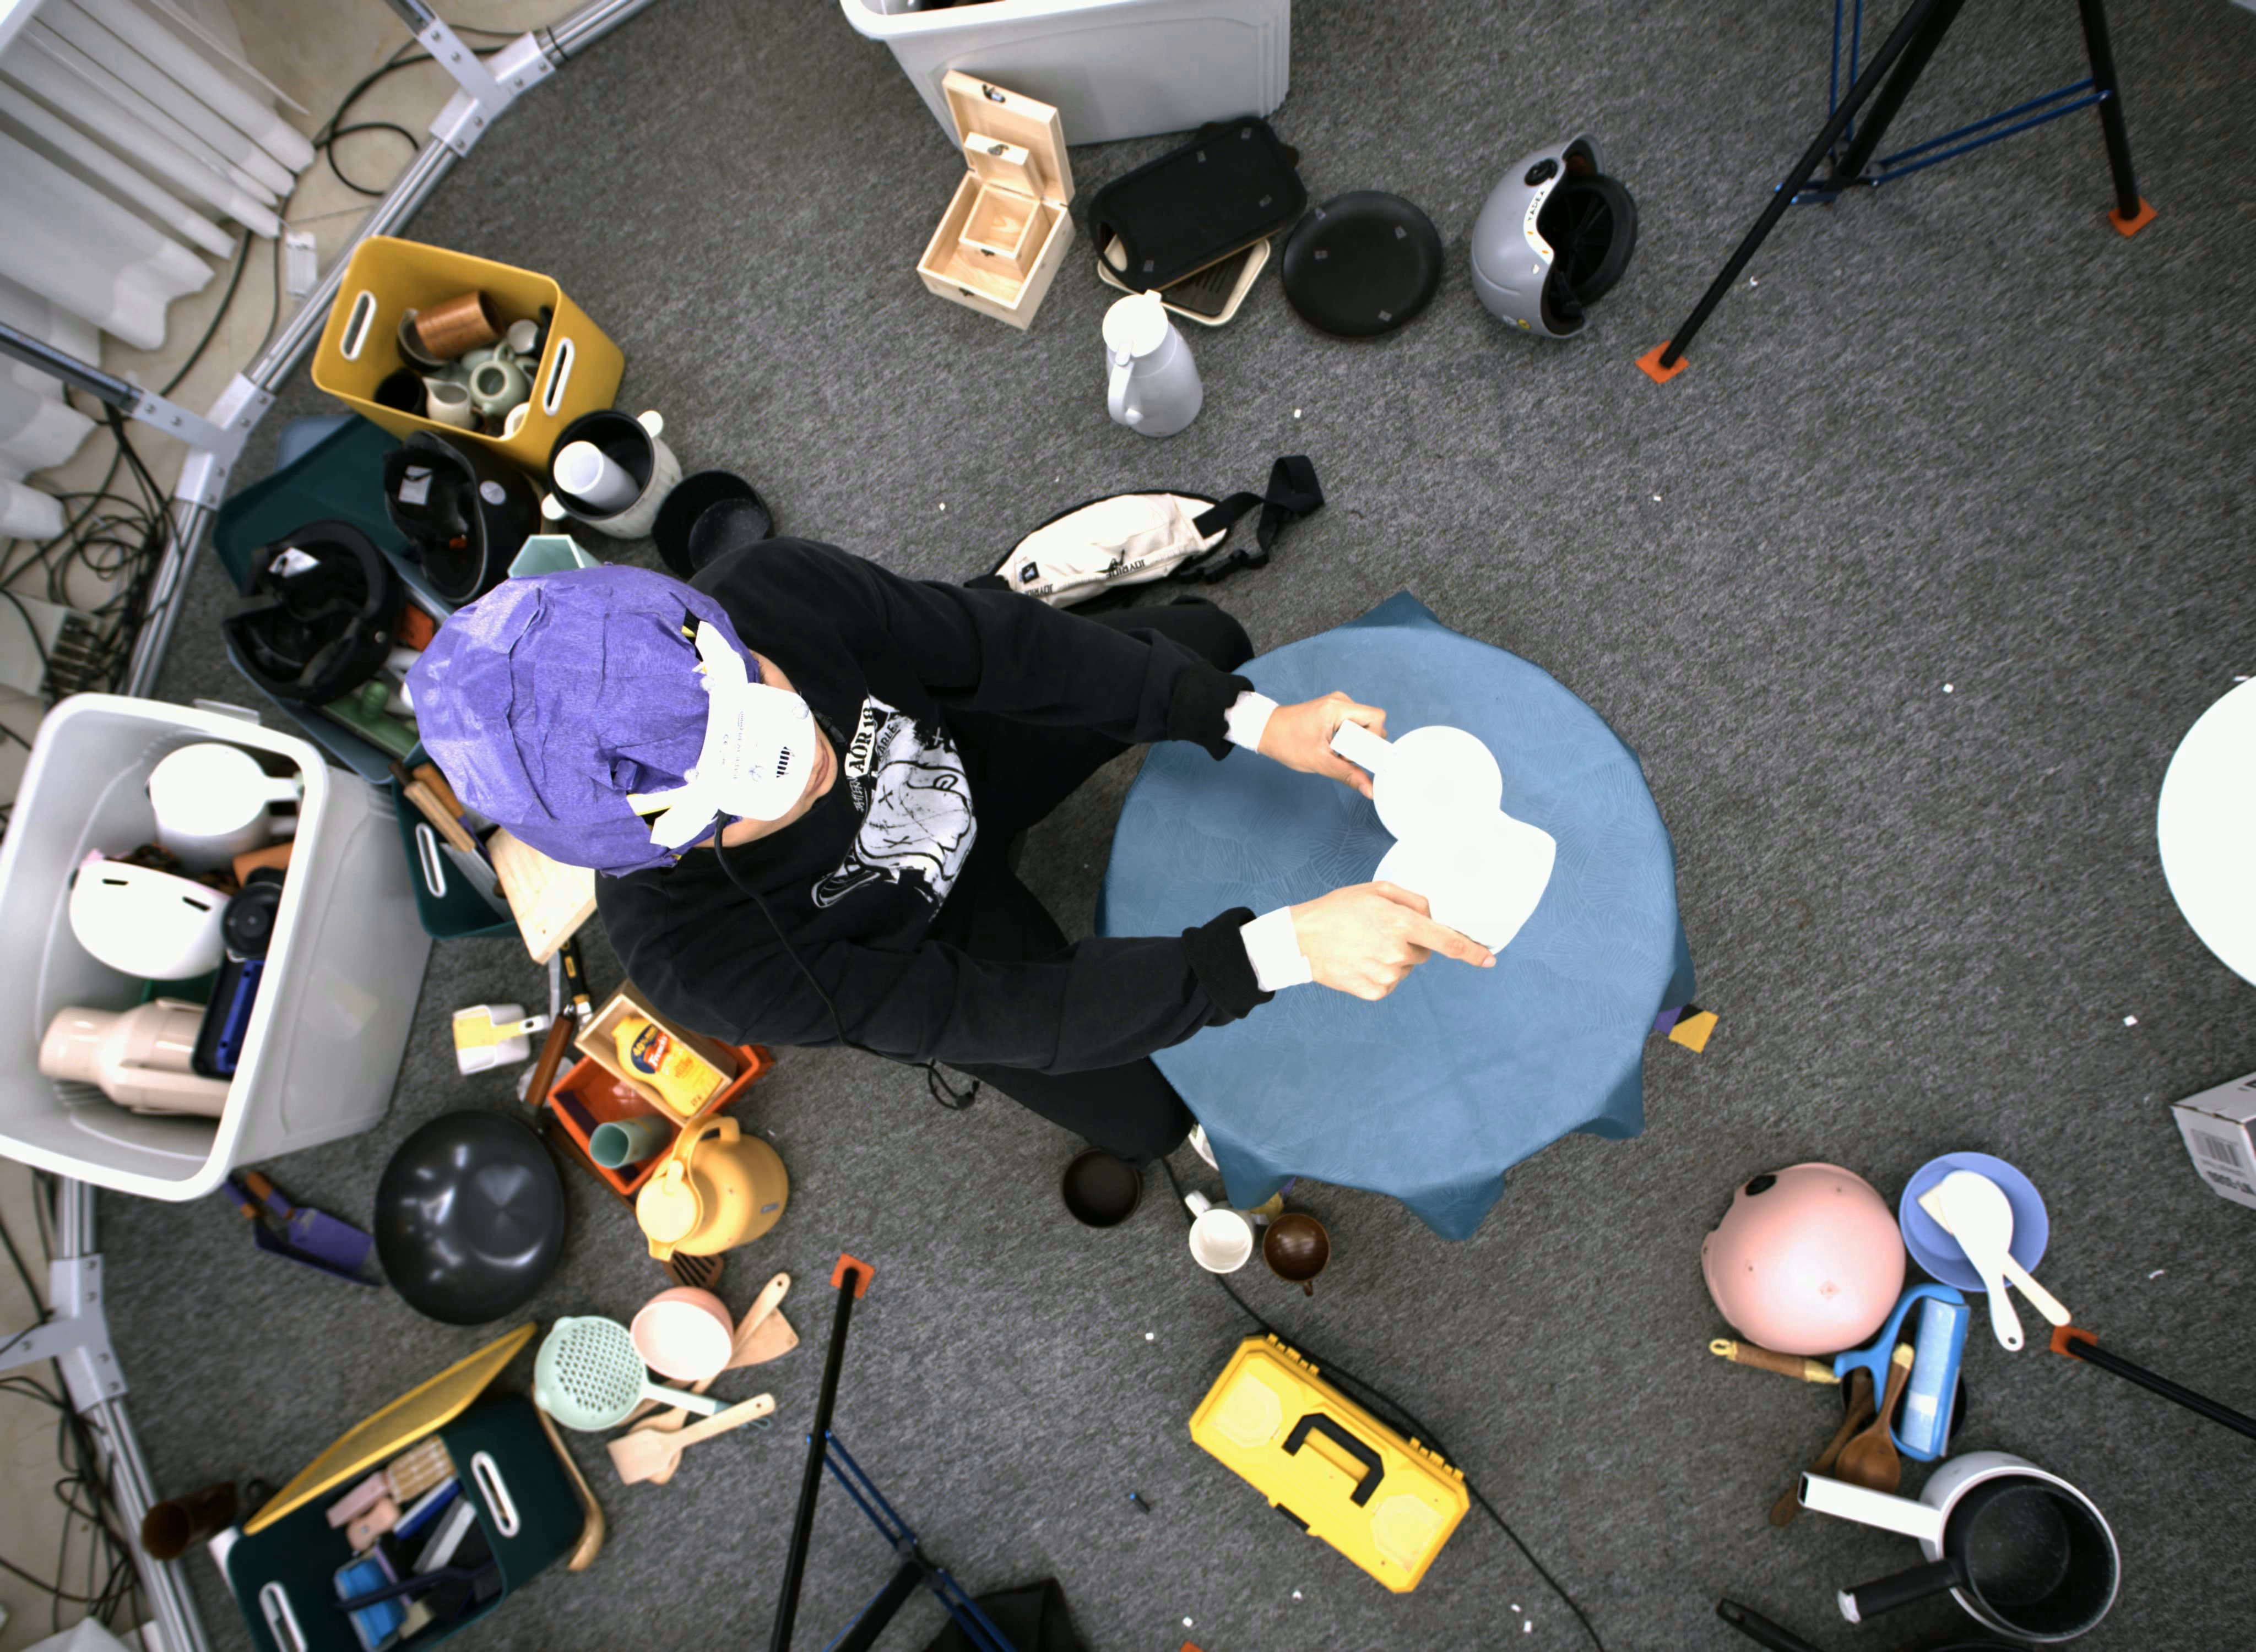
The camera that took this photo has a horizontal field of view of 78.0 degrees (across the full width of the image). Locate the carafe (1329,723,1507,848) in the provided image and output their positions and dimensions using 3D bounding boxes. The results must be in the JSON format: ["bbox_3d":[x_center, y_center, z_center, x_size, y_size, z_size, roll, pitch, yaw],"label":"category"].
[{"bbox_3d":[0.281,-0.043,1.325,0.172,0.266,0.125,29,101,10],"label":"carafe"}]

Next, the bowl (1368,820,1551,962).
[{"bbox_3d":[0.276,0.059,1.134,0.152,0.147,0.060,-17,125,9],"label":"bowl"}]
